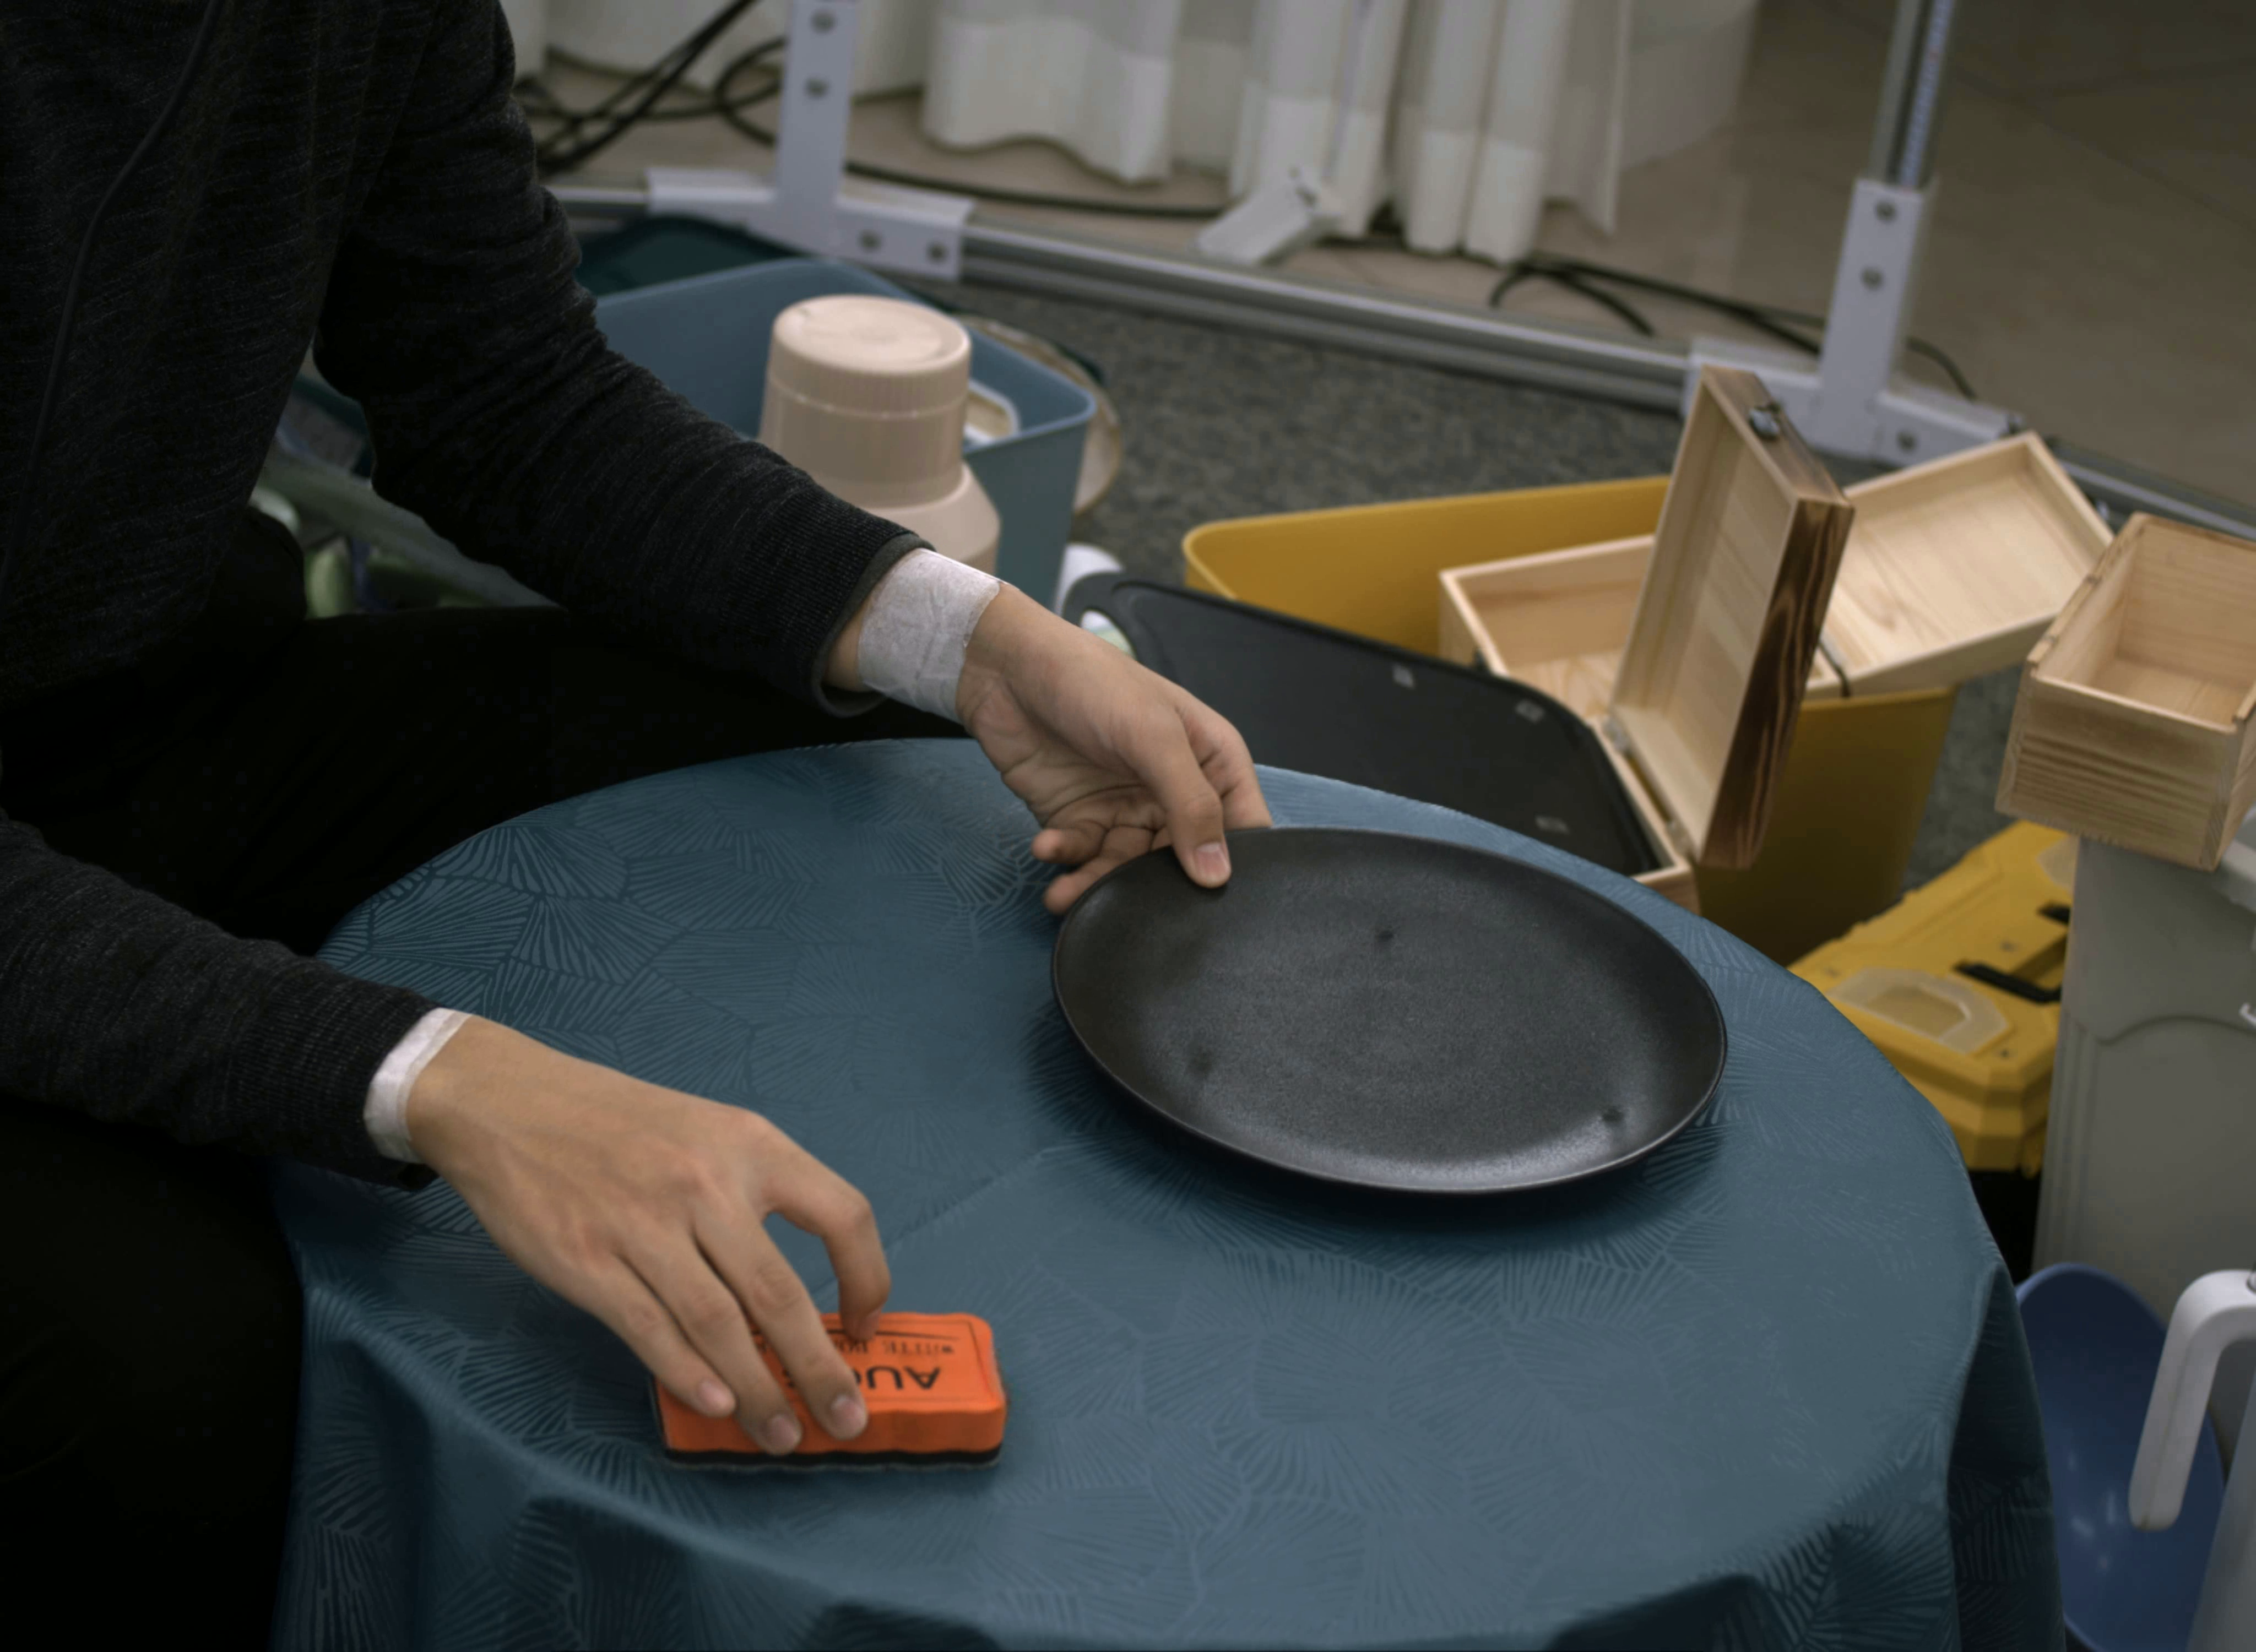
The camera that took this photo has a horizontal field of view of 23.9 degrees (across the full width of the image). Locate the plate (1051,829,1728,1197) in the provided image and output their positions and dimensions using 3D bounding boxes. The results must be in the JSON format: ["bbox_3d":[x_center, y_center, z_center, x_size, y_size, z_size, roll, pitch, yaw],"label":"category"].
[{"bbox_3d":[0.092,0.070,1.895,0.243,0.023,0.246,5,29,-3],"label":"plate"}]

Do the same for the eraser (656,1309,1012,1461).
[{"bbox_3d":[-0.092,0.173,1.652,0.107,0.023,0.059,-1,21,-9],"label":"eraser"}]
